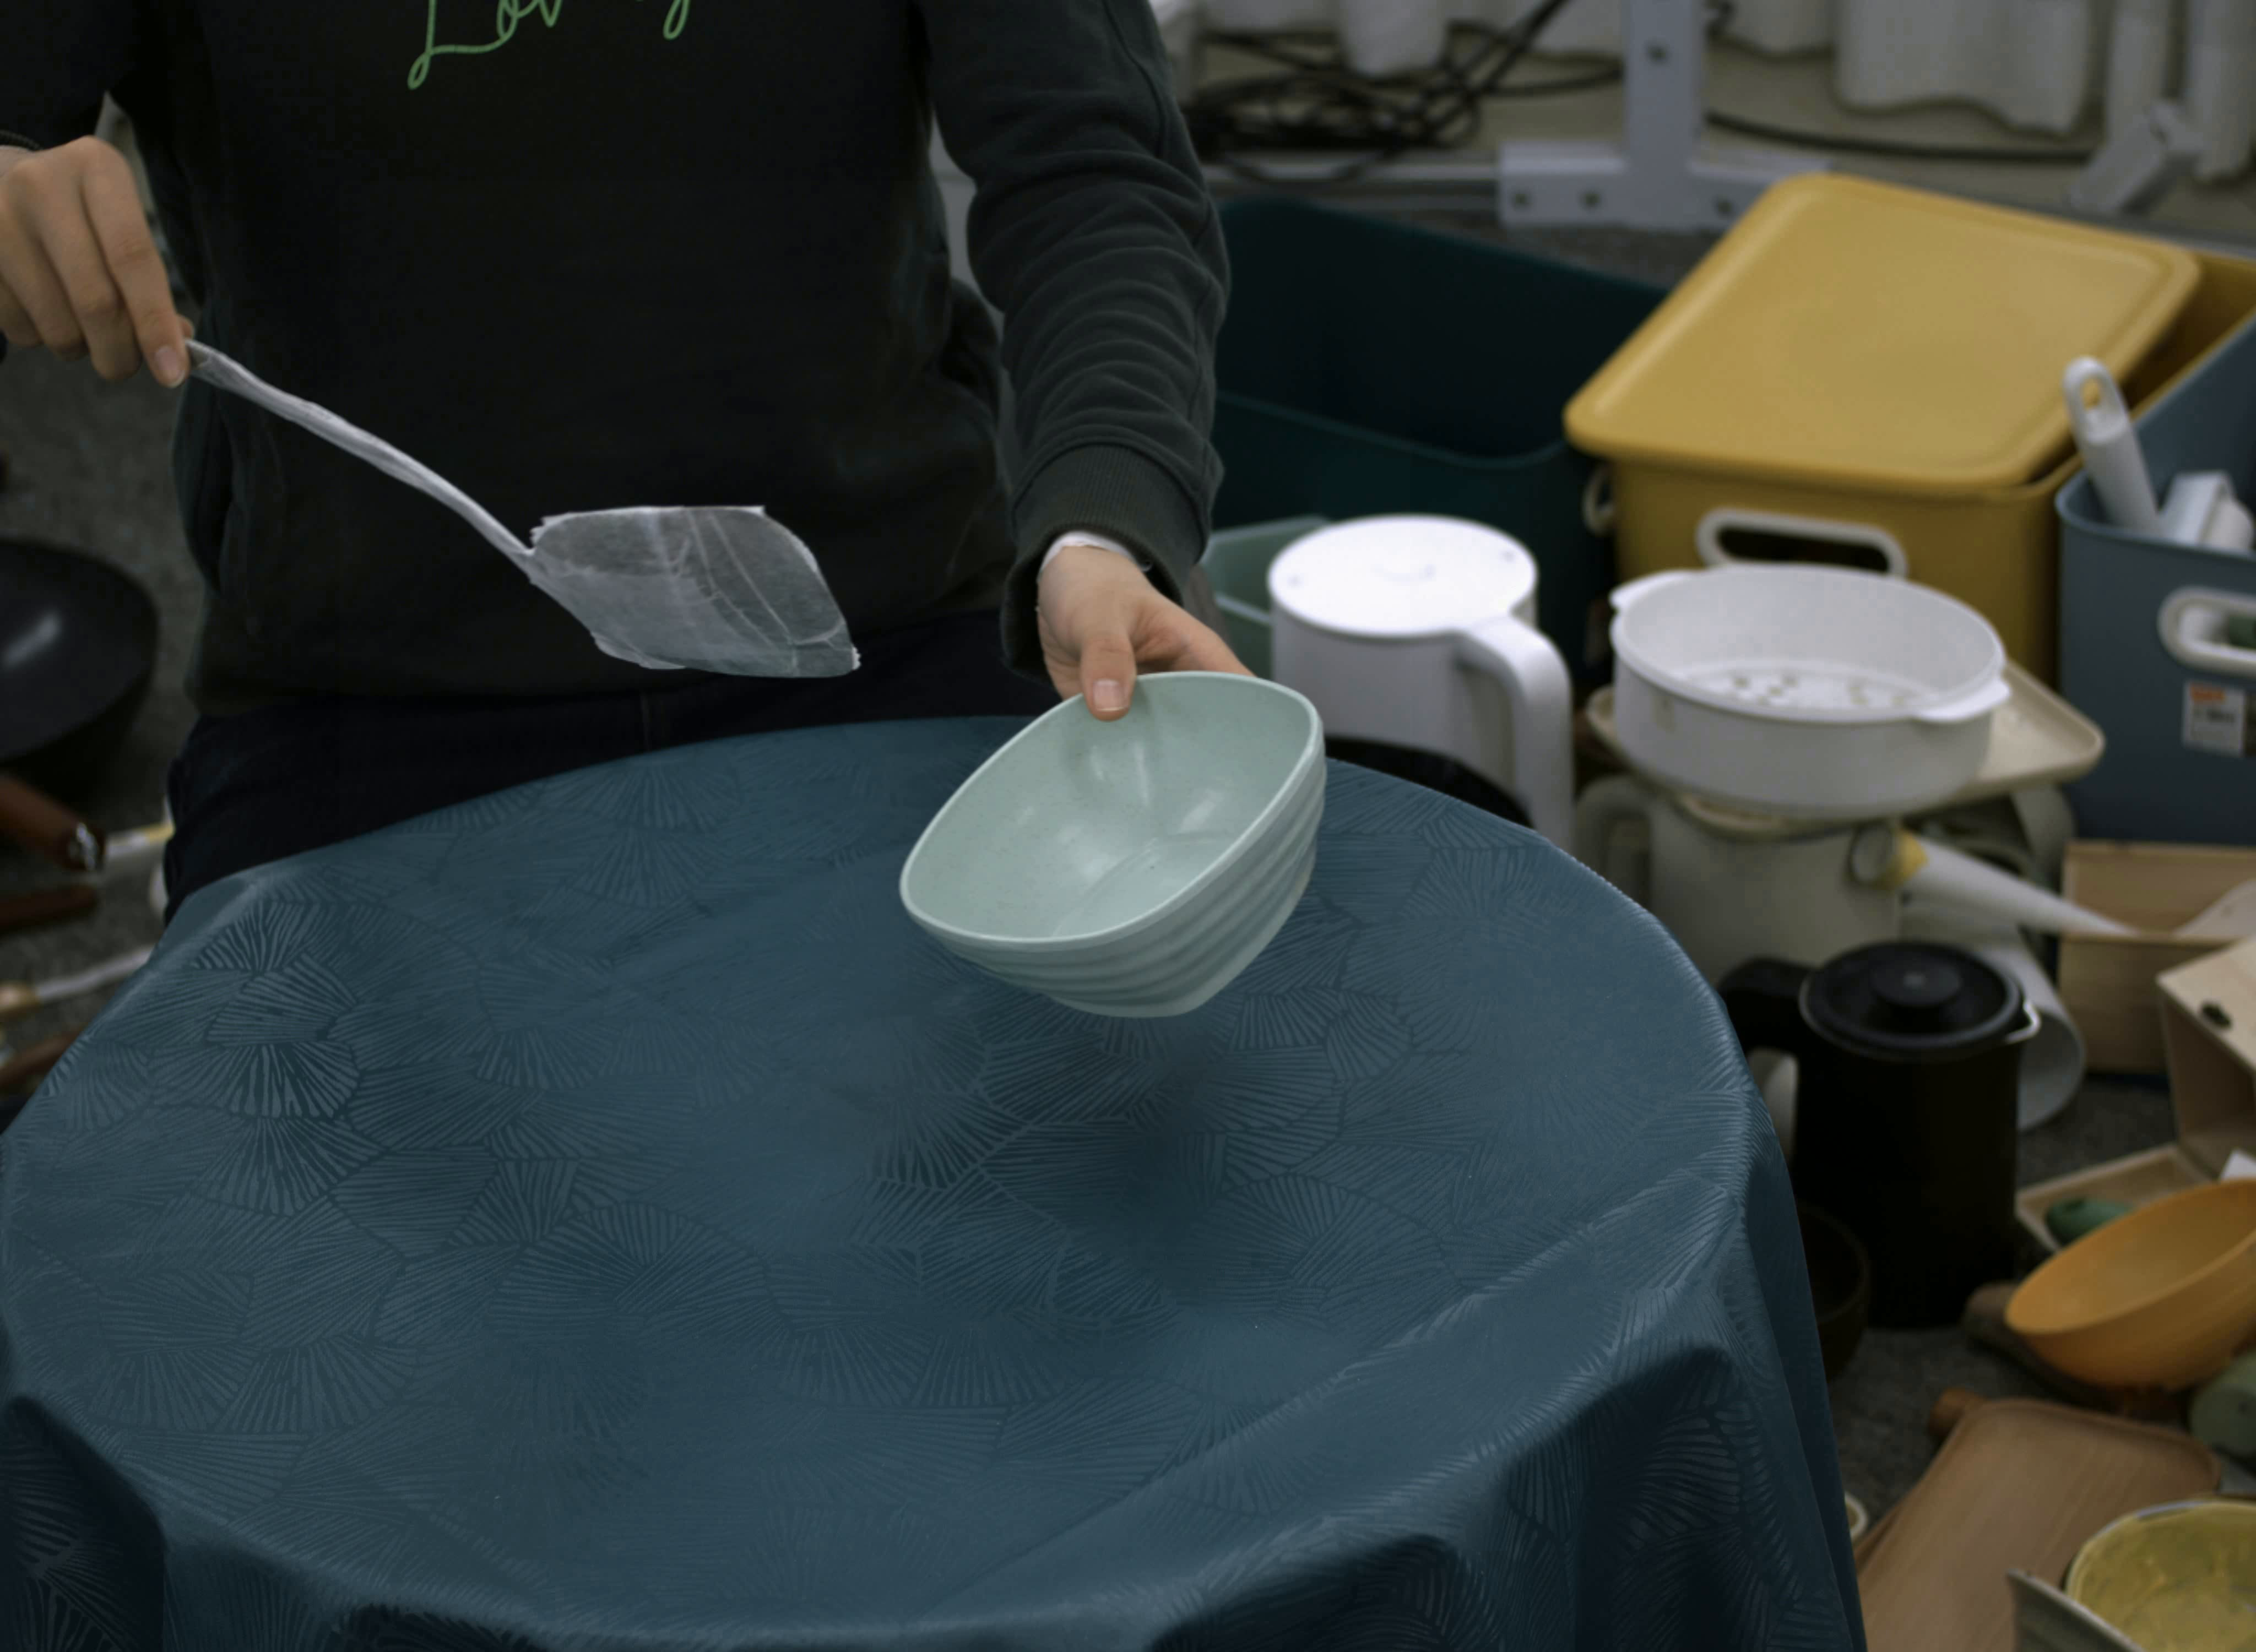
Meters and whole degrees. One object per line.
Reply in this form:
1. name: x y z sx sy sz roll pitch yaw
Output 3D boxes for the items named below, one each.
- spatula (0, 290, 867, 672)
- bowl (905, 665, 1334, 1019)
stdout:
1. spatula: -0.241 -0.123 1.830 0.364 0.097 0.045 26 71 29
2. bowl: 0.006 0.014 1.863 0.150 0.058 0.154 -18 34 13
